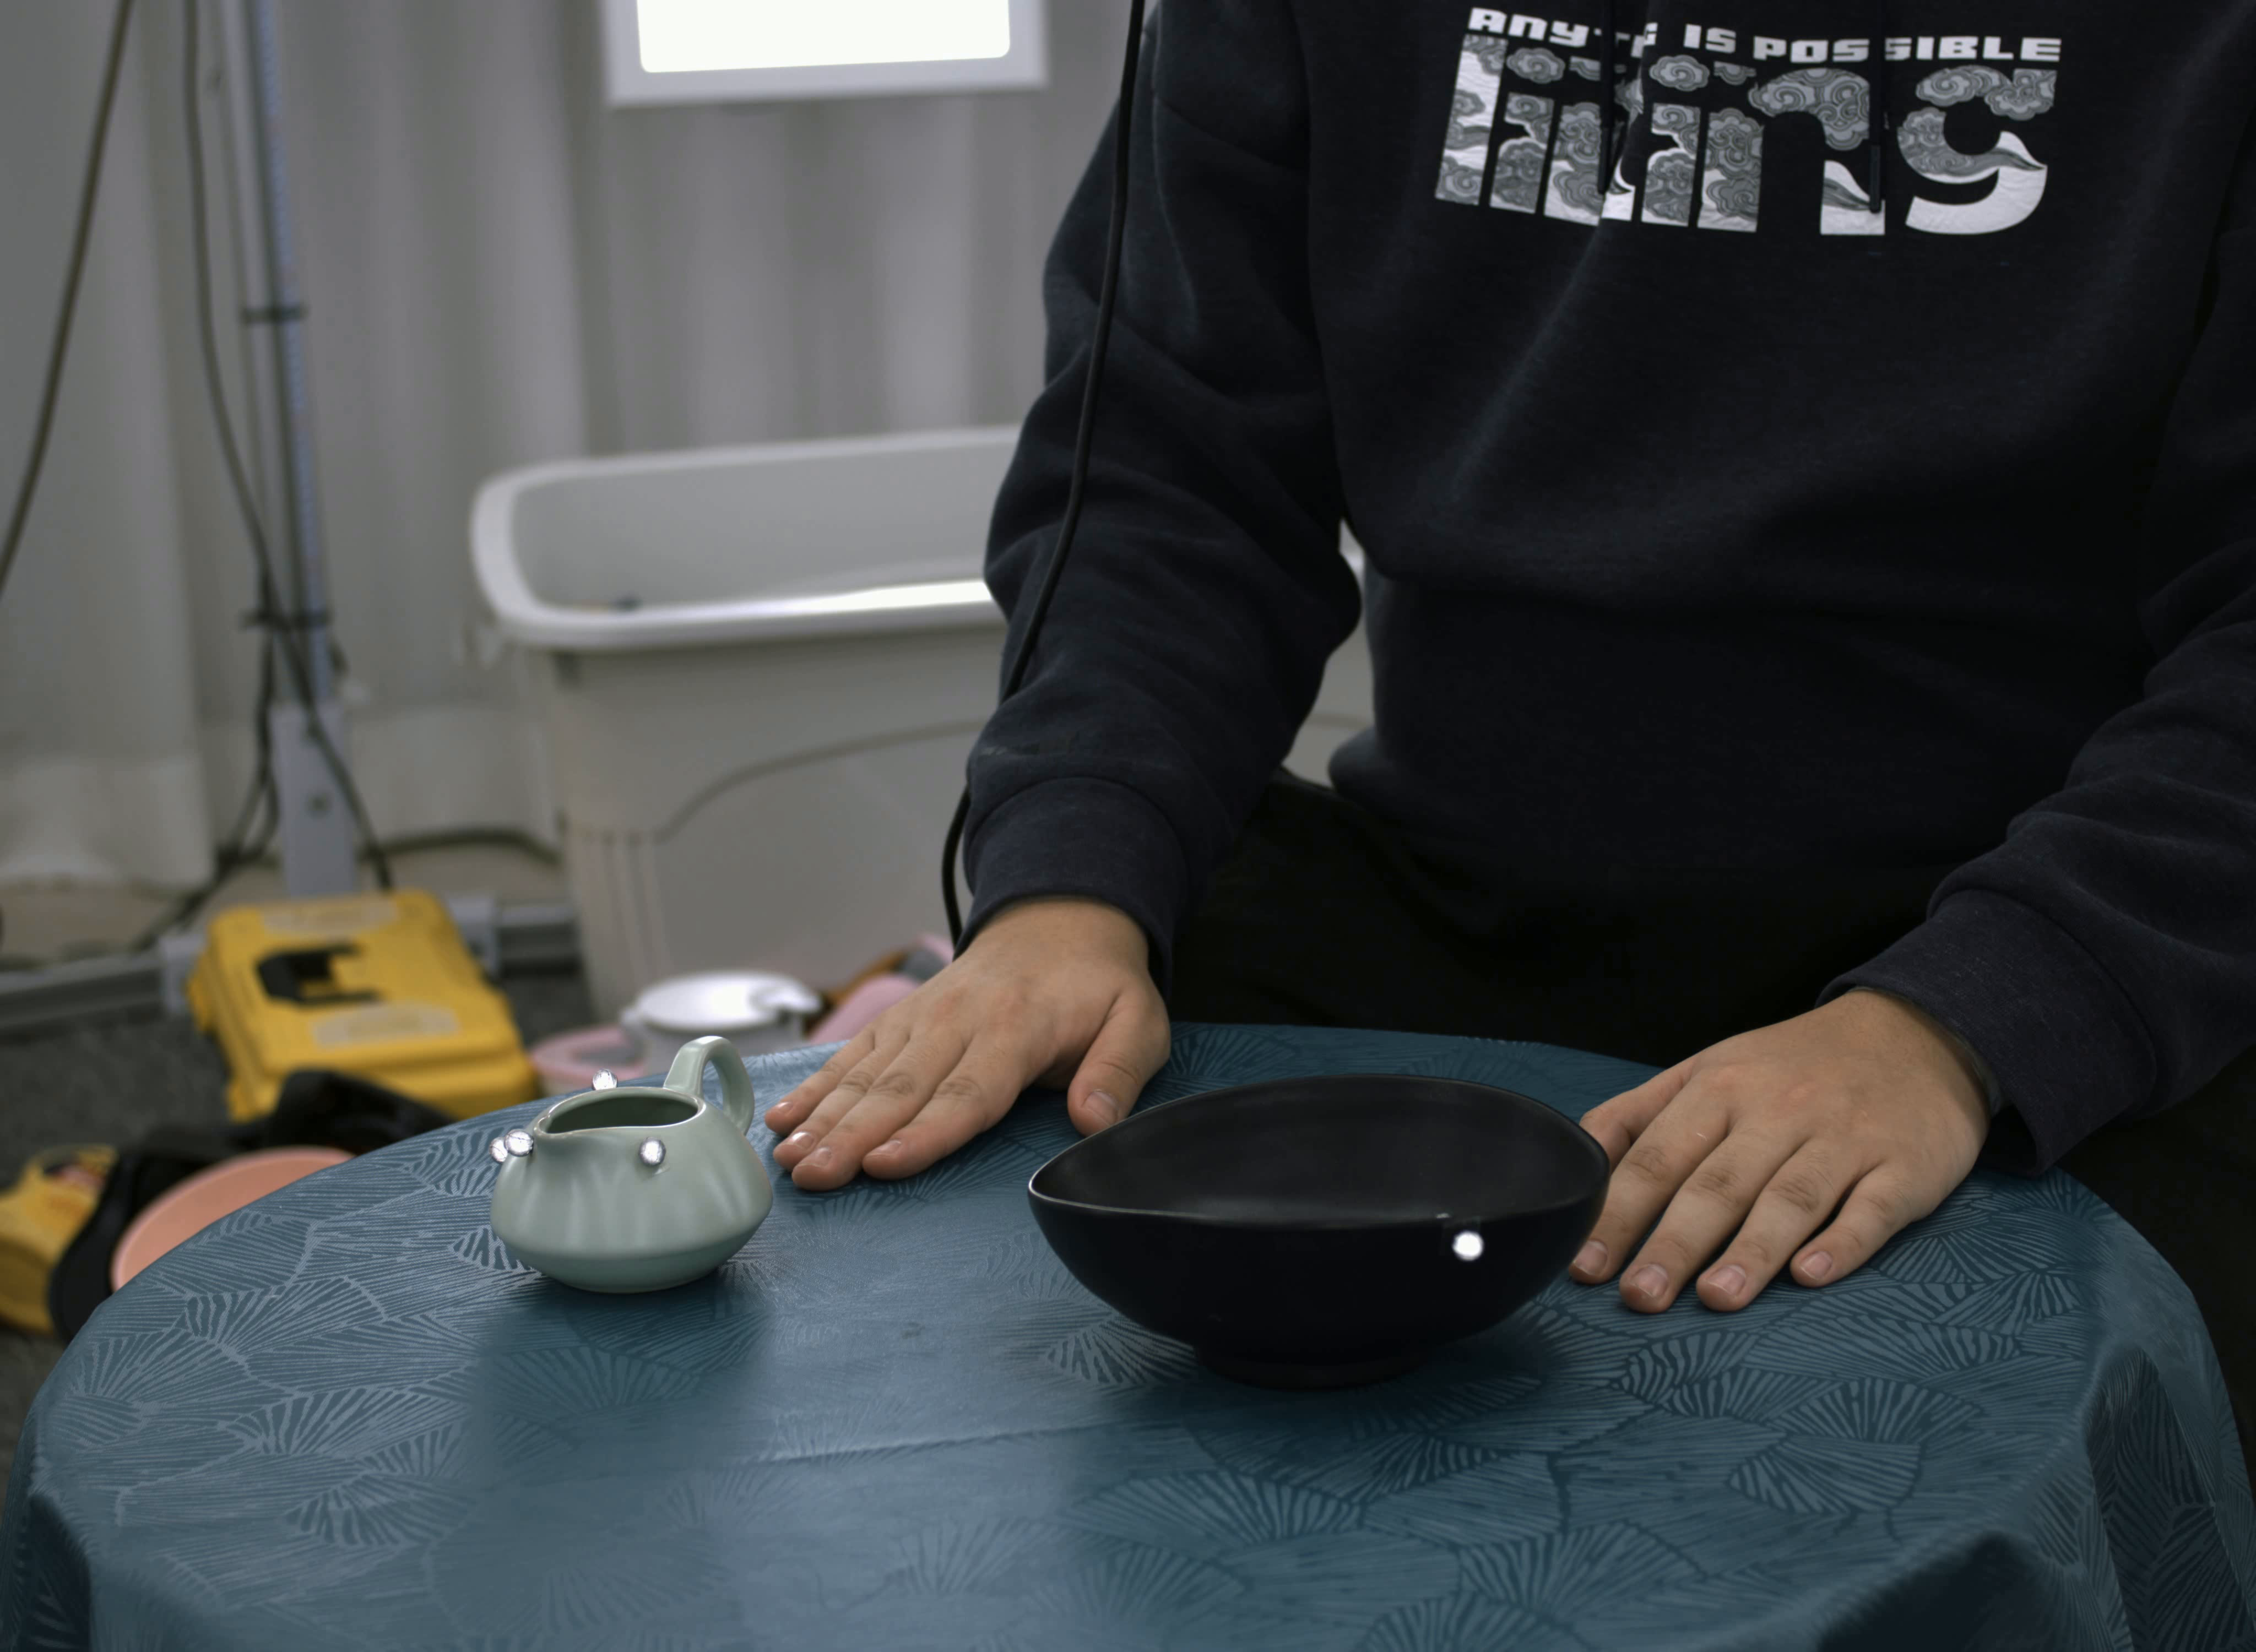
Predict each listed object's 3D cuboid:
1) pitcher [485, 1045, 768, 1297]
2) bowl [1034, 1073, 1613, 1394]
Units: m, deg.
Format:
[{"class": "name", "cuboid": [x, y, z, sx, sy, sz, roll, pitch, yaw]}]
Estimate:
[{"class": "pitcher", "cuboid": [-0.147, 0.106, 1.670, 0.086, 0.060, 0.108, 6, 15, 26]}, {"class": "bowl", "cuboid": [0.055, 0.121, 1.562, 0.170, 0.066, 0.138, 1, 14, 17]}]
